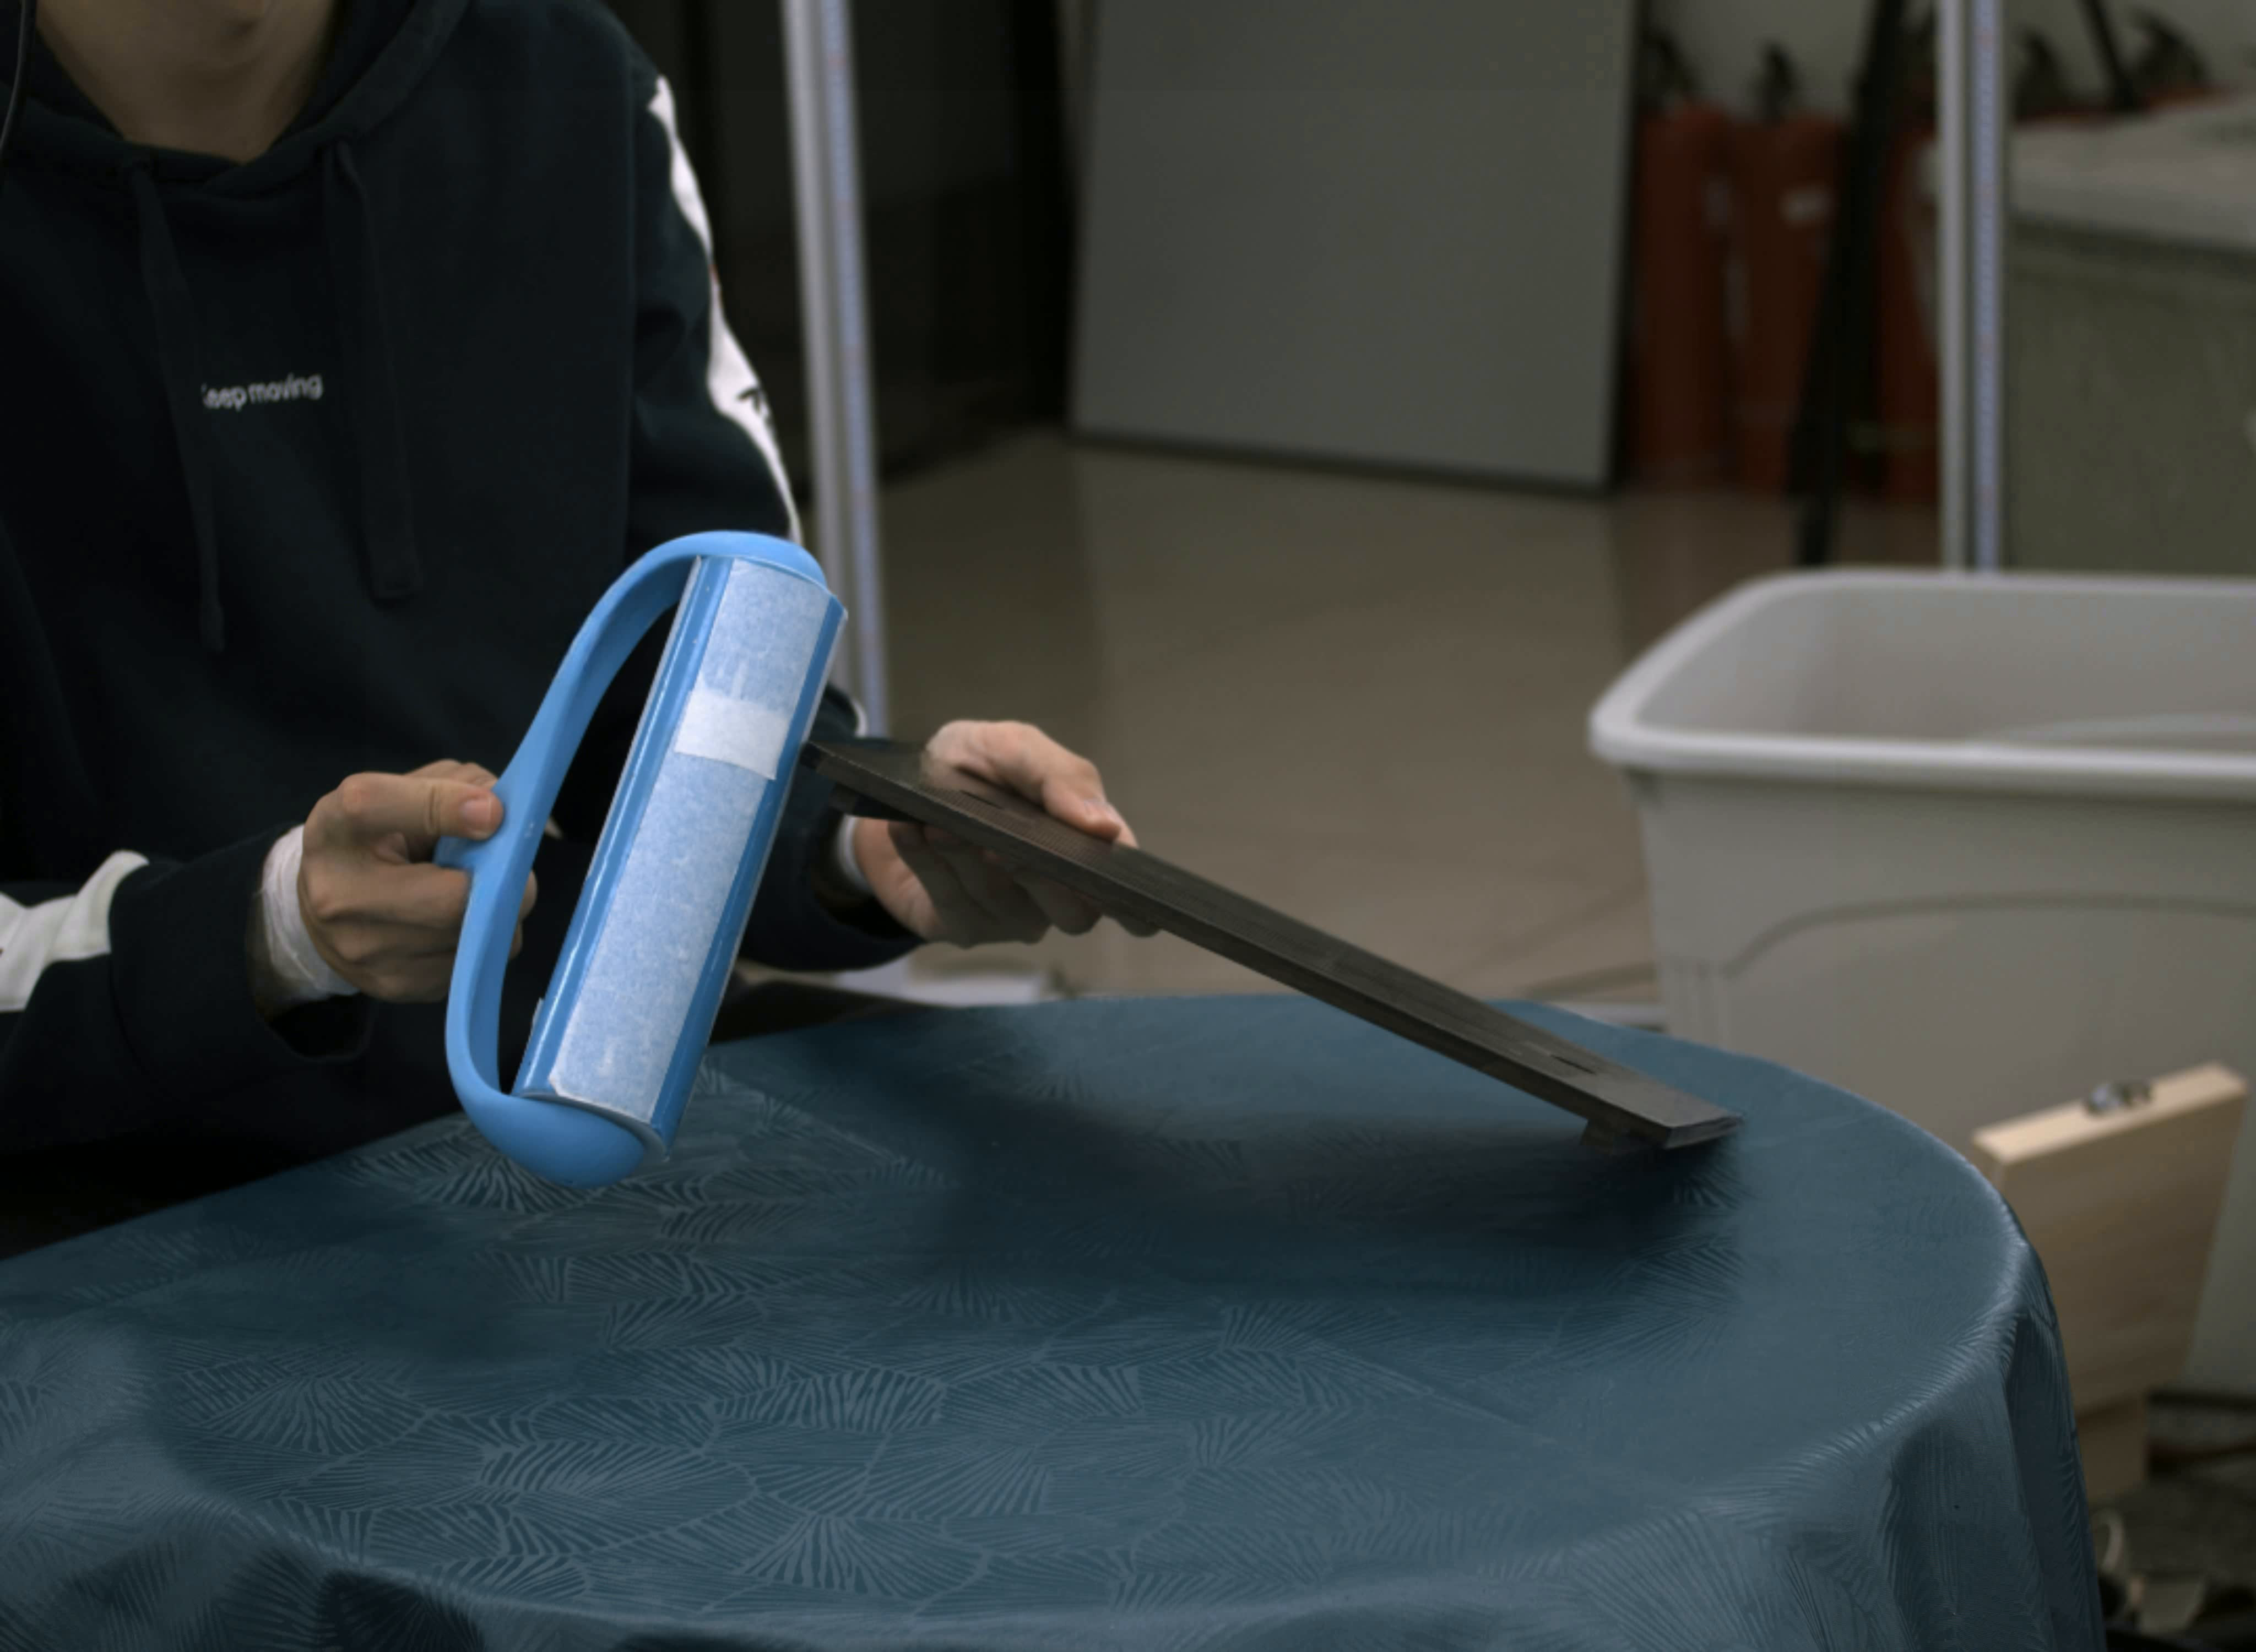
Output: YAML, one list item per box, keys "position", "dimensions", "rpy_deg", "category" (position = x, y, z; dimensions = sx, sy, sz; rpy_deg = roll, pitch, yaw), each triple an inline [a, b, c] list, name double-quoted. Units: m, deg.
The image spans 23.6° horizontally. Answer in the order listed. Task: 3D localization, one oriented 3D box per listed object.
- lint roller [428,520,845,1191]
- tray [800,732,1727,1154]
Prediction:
- position: [-0.183, 0.016, 1.739]
  dimensions: [0.182, 0.231, 0.067]
  rpy_deg: [-12, -35, 44]
  category: "lint roller"
- position: [0.046, 0.041, 1.748]
  dimensions: [0.305, 0.019, 0.168]
  rpy_deg: [24, 4, 14]
  category: "tray"
